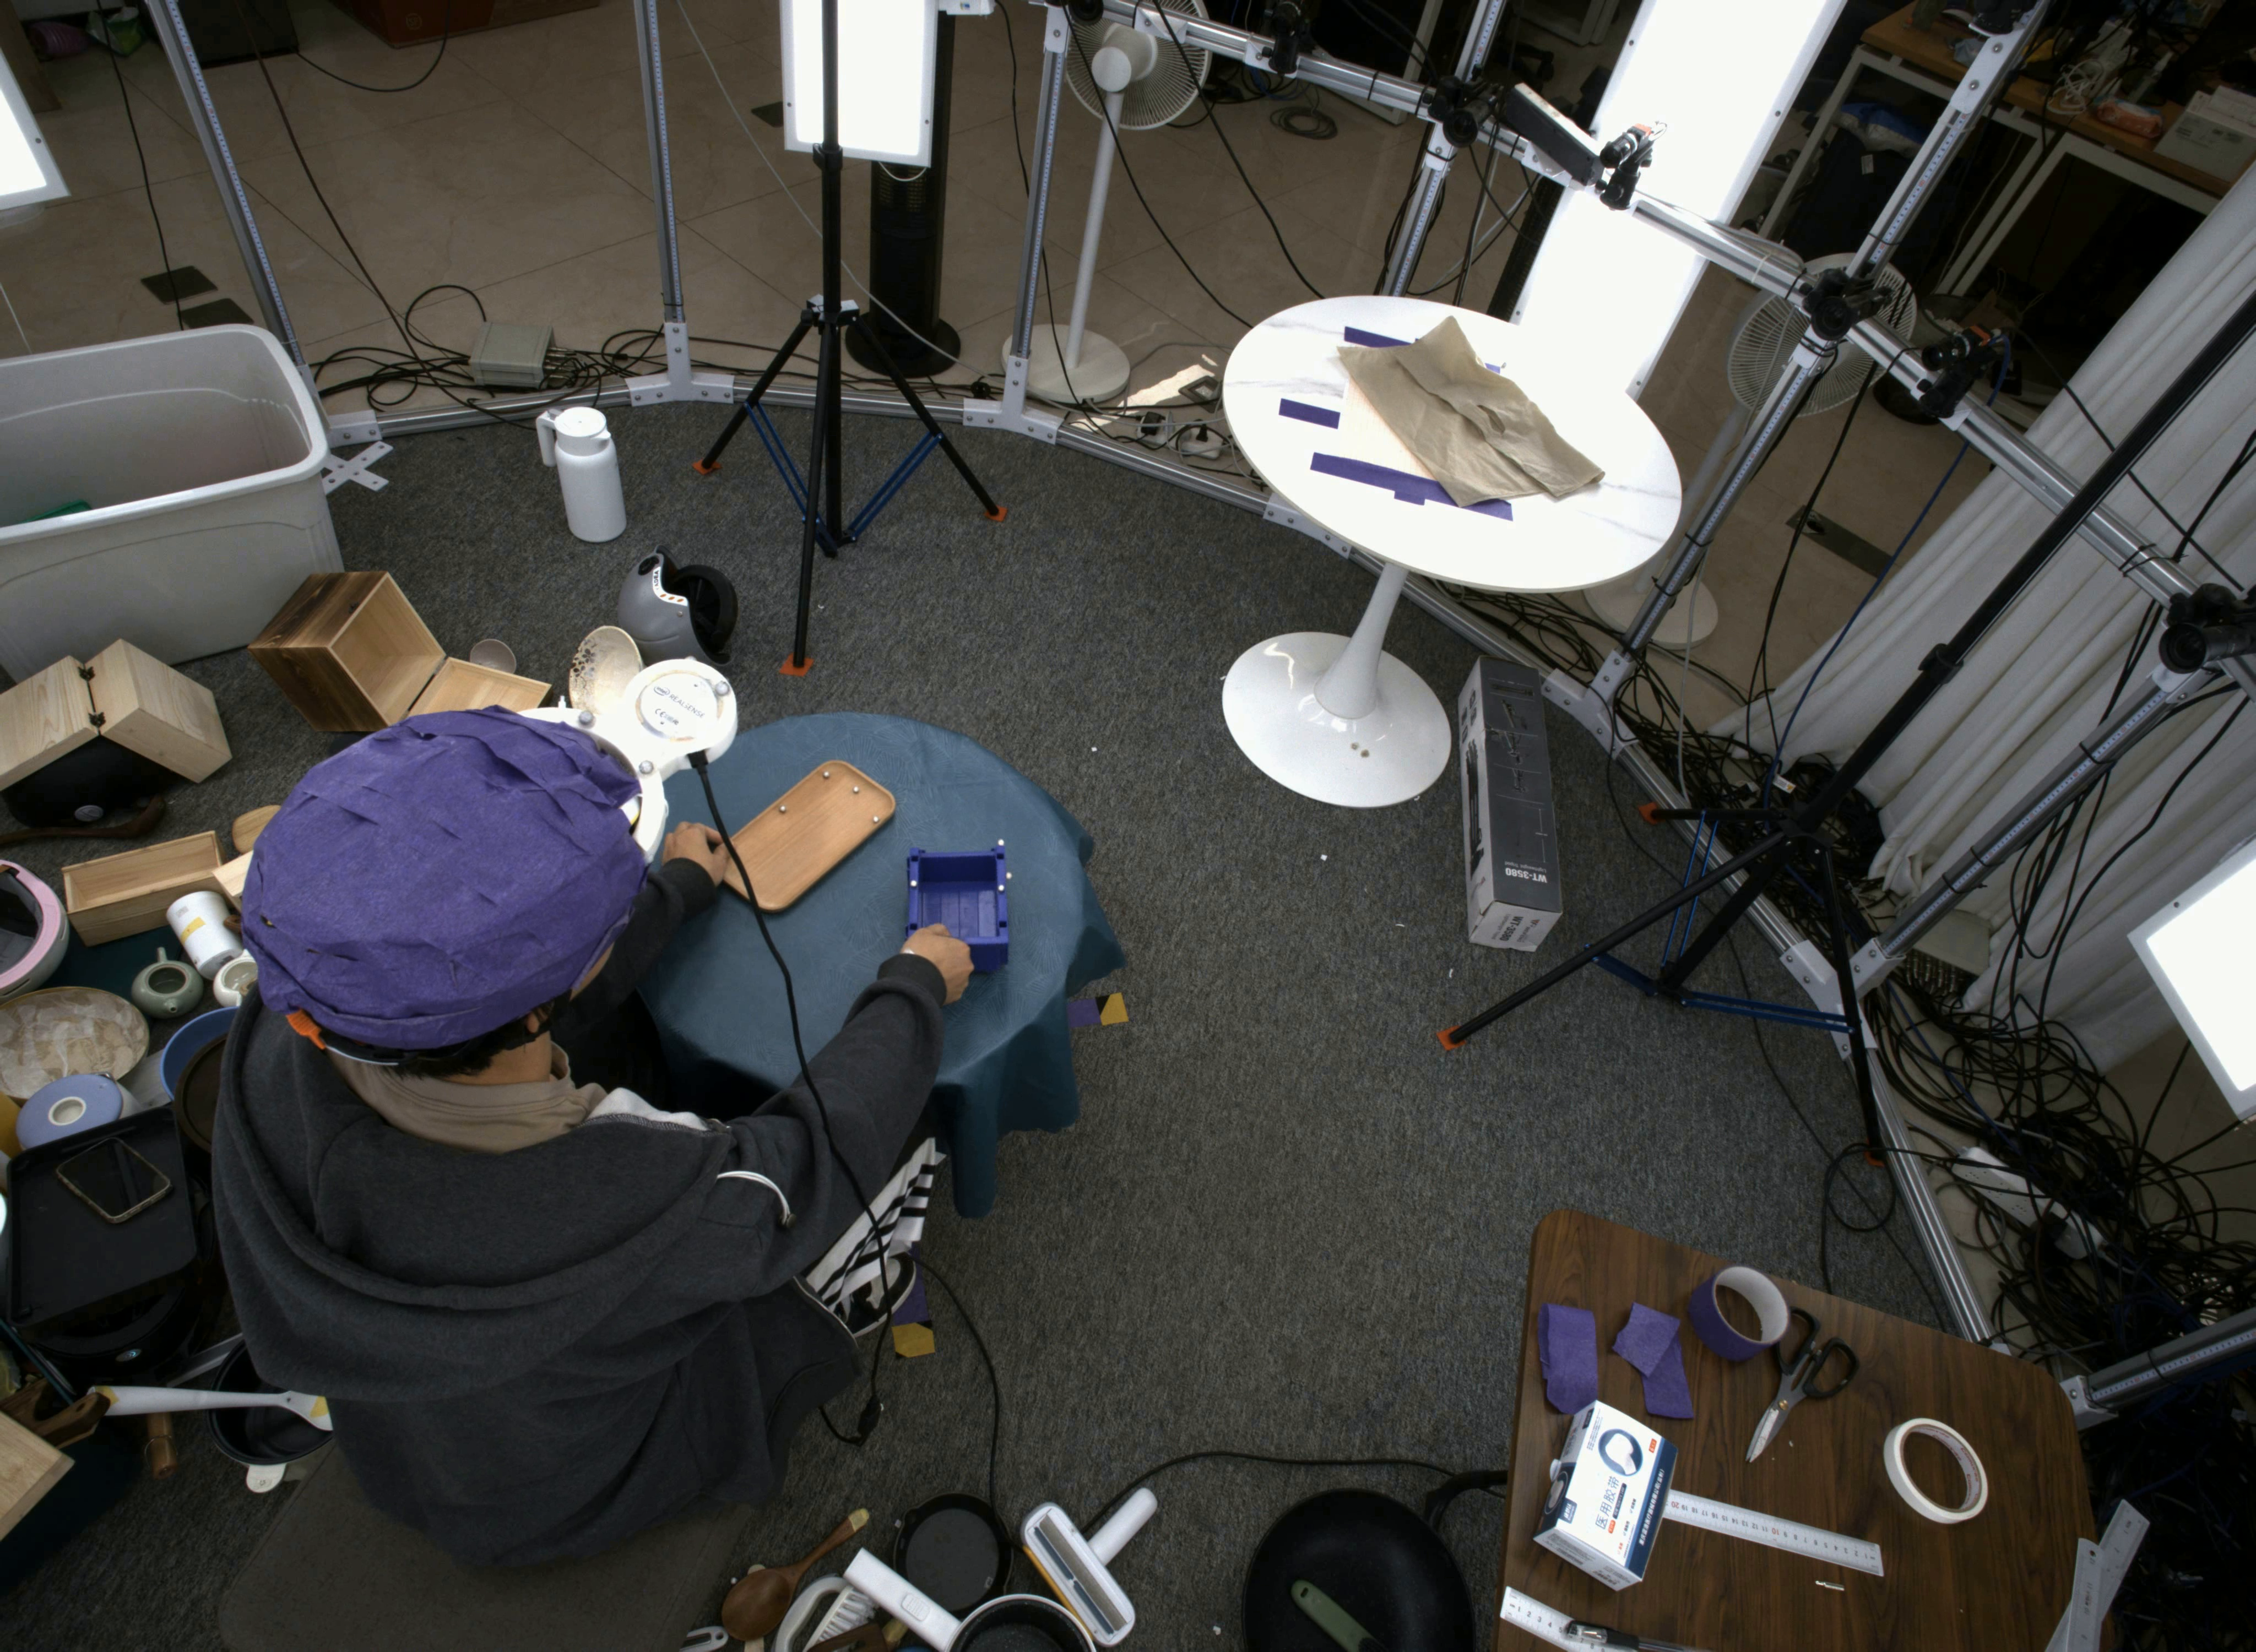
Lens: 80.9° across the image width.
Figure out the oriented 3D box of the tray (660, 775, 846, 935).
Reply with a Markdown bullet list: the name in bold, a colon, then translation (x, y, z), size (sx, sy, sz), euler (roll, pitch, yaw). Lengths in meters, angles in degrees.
- **tray**: translation (-0.484, 0.033, 1.678), size (0.128, 0.023, 0.250), euler (31, 53, 12)

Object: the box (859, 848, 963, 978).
- **box**: translation (-0.272, 0.100, 1.633), size (0.124, 0.084, 0.176), euler (-2, 56, -8)
